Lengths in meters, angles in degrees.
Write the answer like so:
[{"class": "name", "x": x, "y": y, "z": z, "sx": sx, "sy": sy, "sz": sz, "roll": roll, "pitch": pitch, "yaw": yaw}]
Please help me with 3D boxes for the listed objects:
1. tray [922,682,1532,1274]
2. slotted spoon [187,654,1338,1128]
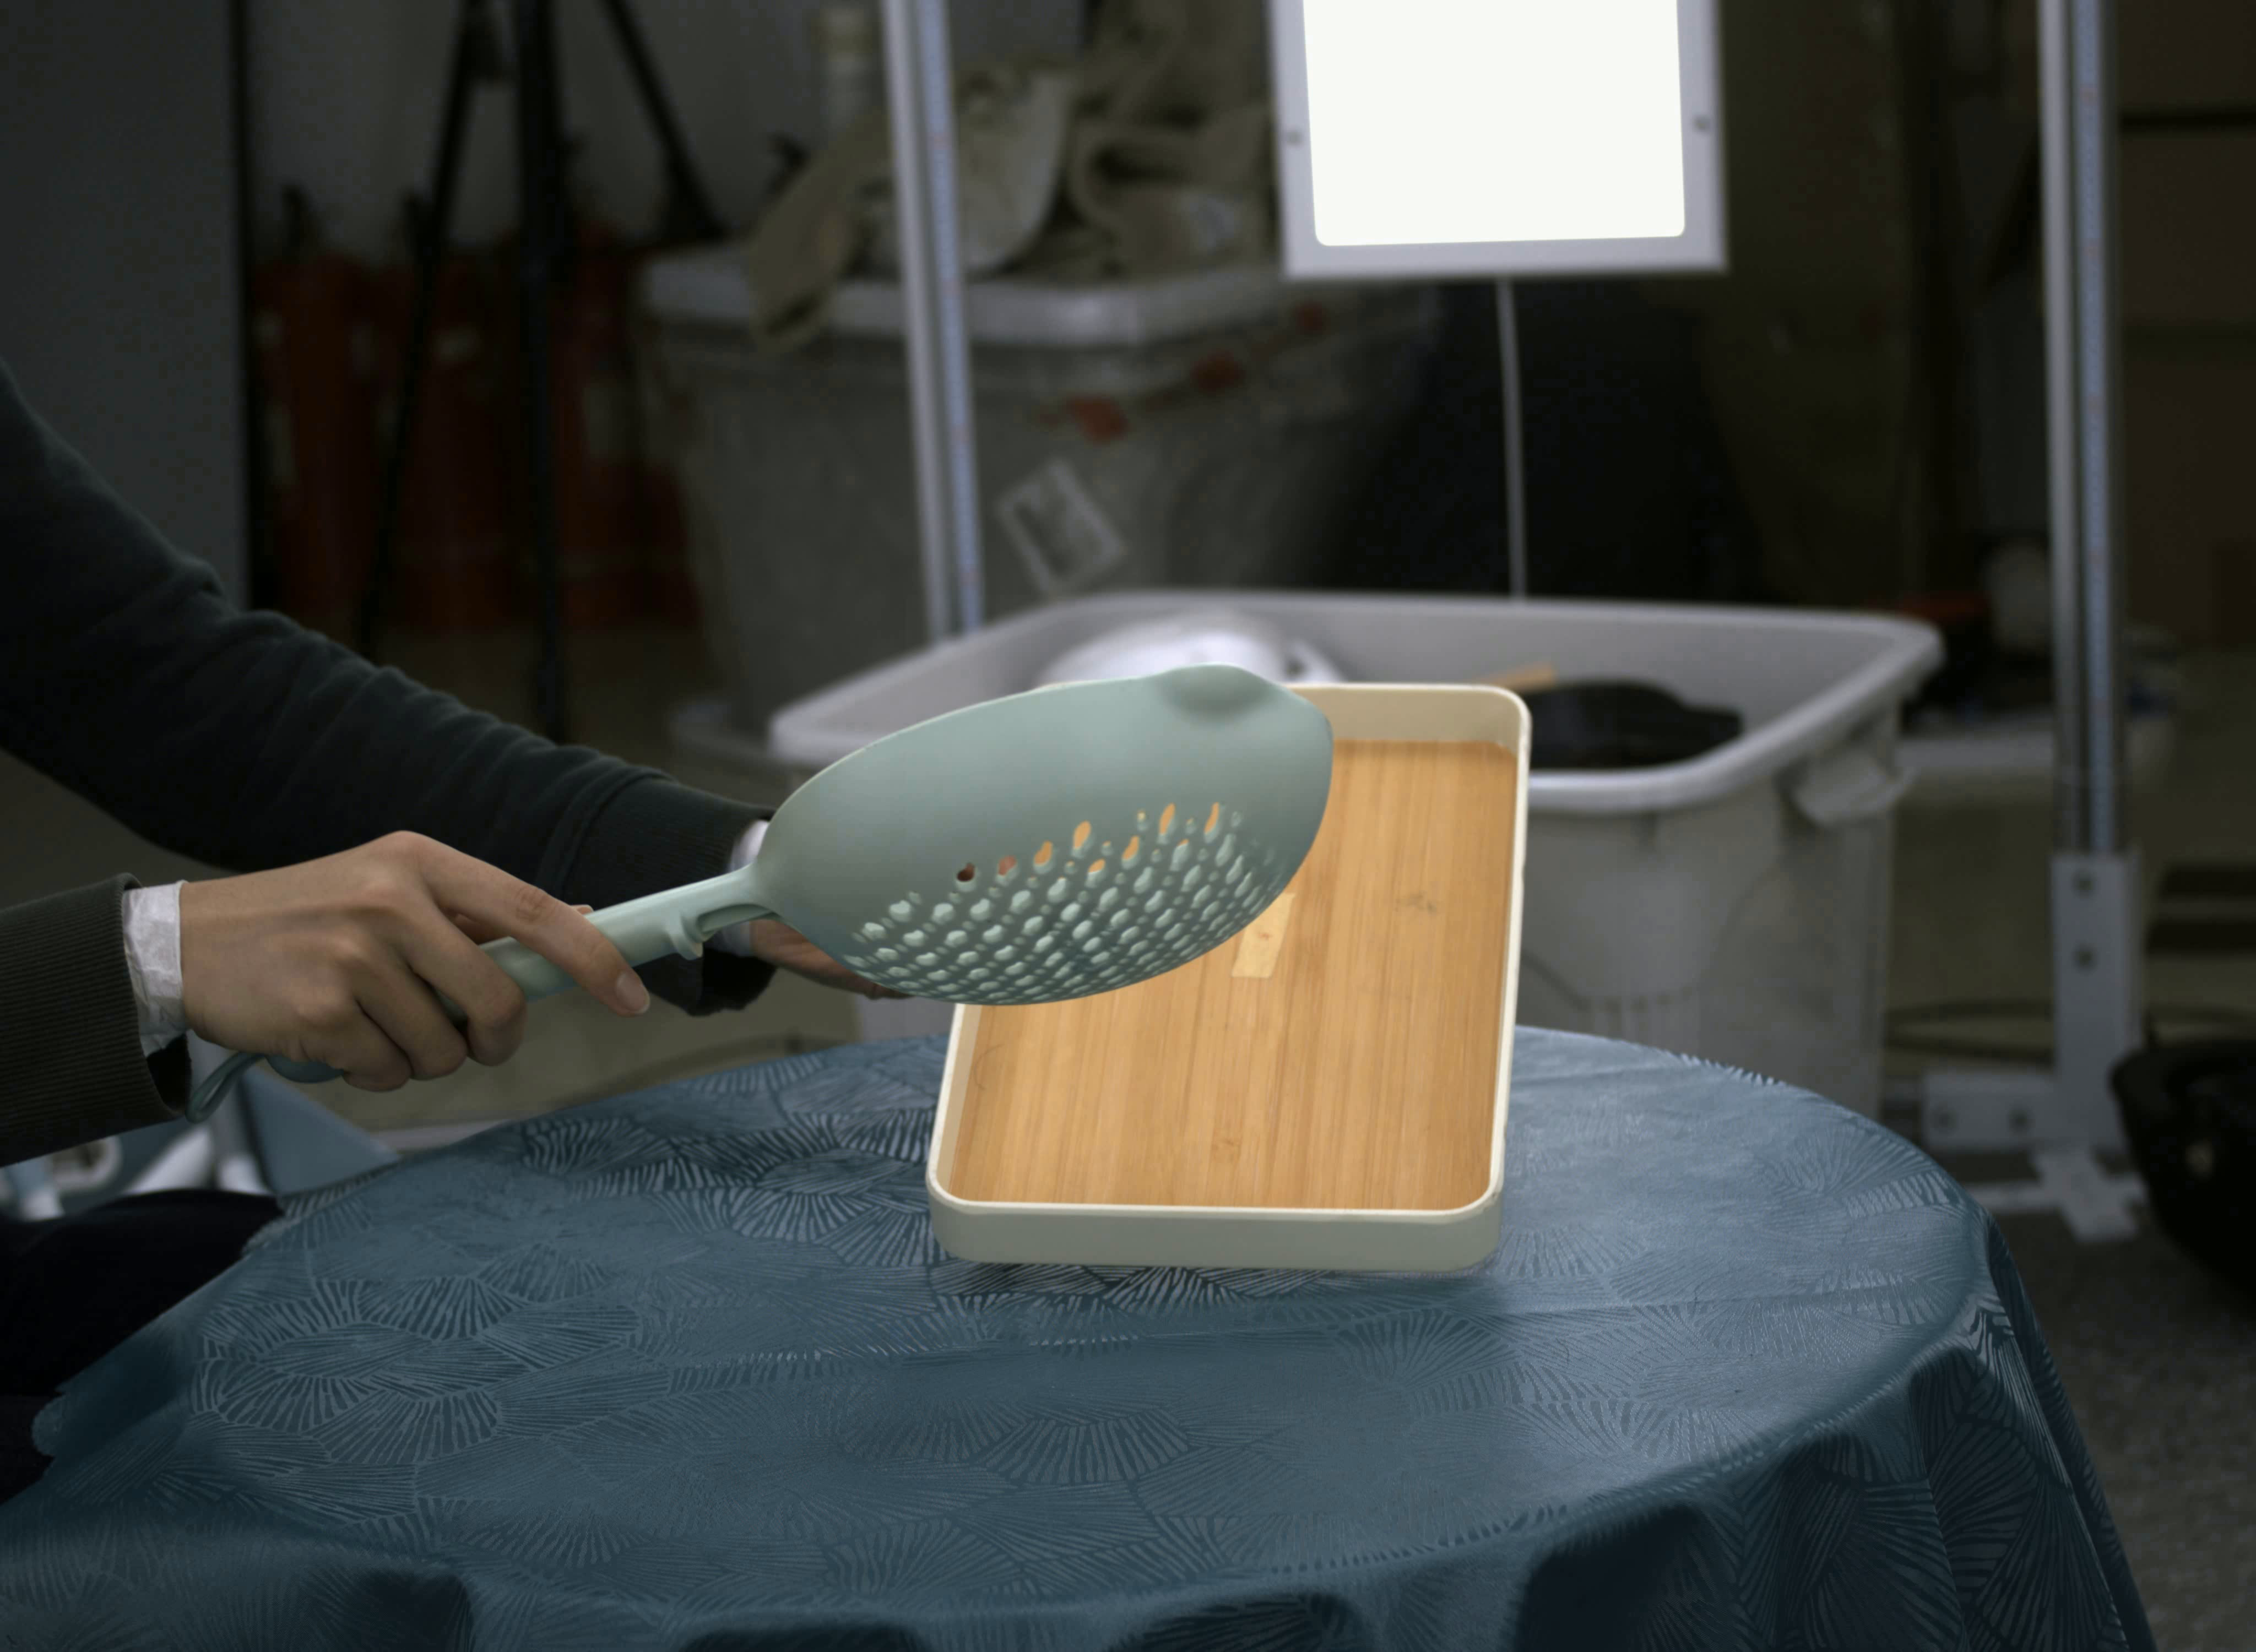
[{"class": "tray", "x": 0.040, "y": 0.047, "z": 1.903, "sx": 0.192, "sy": 0.027, "sz": 0.298, "roll": 0, "pitch": 37, "yaw": 8}, {"class": "slotted spoon", "x": -0.111, "y": 0.028, "z": 1.626, "sx": 0.362, "sy": 0.075, "sz": 0.168, "roll": -9, "pitch": -20, "yaw": 13}]
